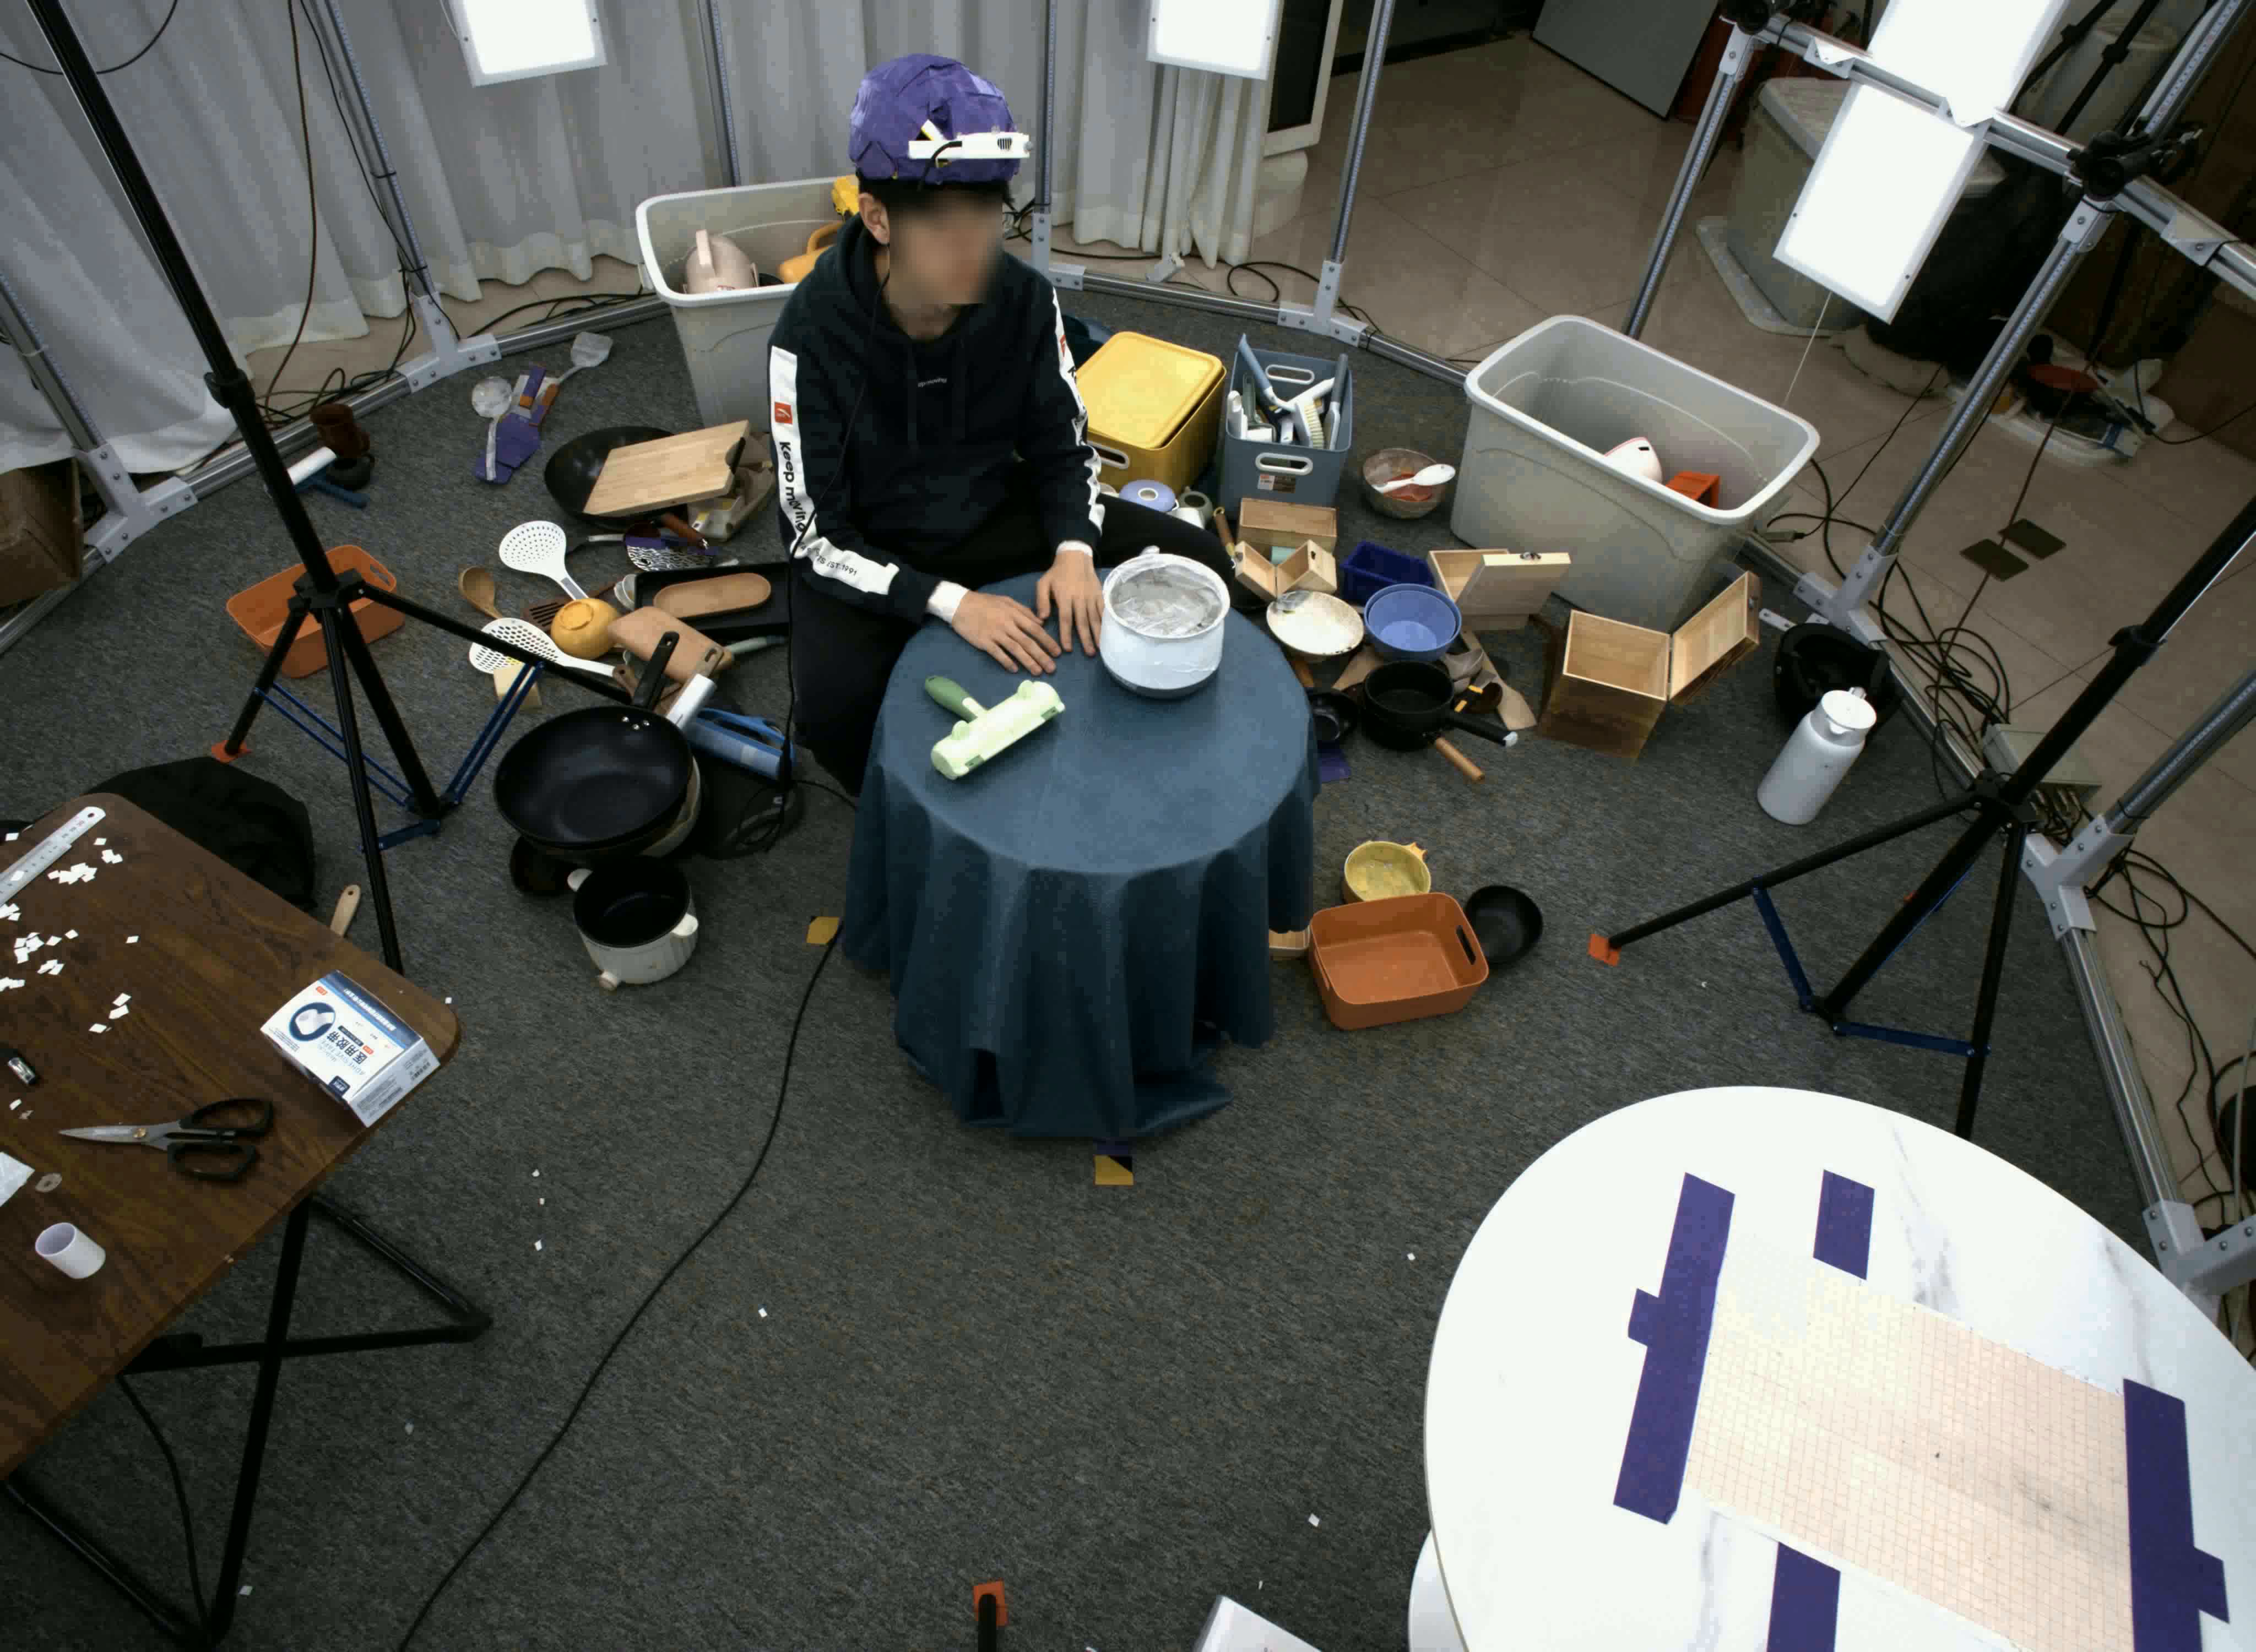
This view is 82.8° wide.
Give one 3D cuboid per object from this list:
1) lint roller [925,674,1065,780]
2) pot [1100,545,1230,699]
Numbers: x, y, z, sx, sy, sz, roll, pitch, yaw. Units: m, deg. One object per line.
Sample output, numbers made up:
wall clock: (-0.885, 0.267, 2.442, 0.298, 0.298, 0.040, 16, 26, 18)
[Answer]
lint roller: (-0.215, -0.169, 1.753, 0.200, 0.080, 0.186, -36, 64, -29)
pot: (0.045, -0.301, 1.843, 0.178, 0.133, 0.239, -6, 51, -9)
